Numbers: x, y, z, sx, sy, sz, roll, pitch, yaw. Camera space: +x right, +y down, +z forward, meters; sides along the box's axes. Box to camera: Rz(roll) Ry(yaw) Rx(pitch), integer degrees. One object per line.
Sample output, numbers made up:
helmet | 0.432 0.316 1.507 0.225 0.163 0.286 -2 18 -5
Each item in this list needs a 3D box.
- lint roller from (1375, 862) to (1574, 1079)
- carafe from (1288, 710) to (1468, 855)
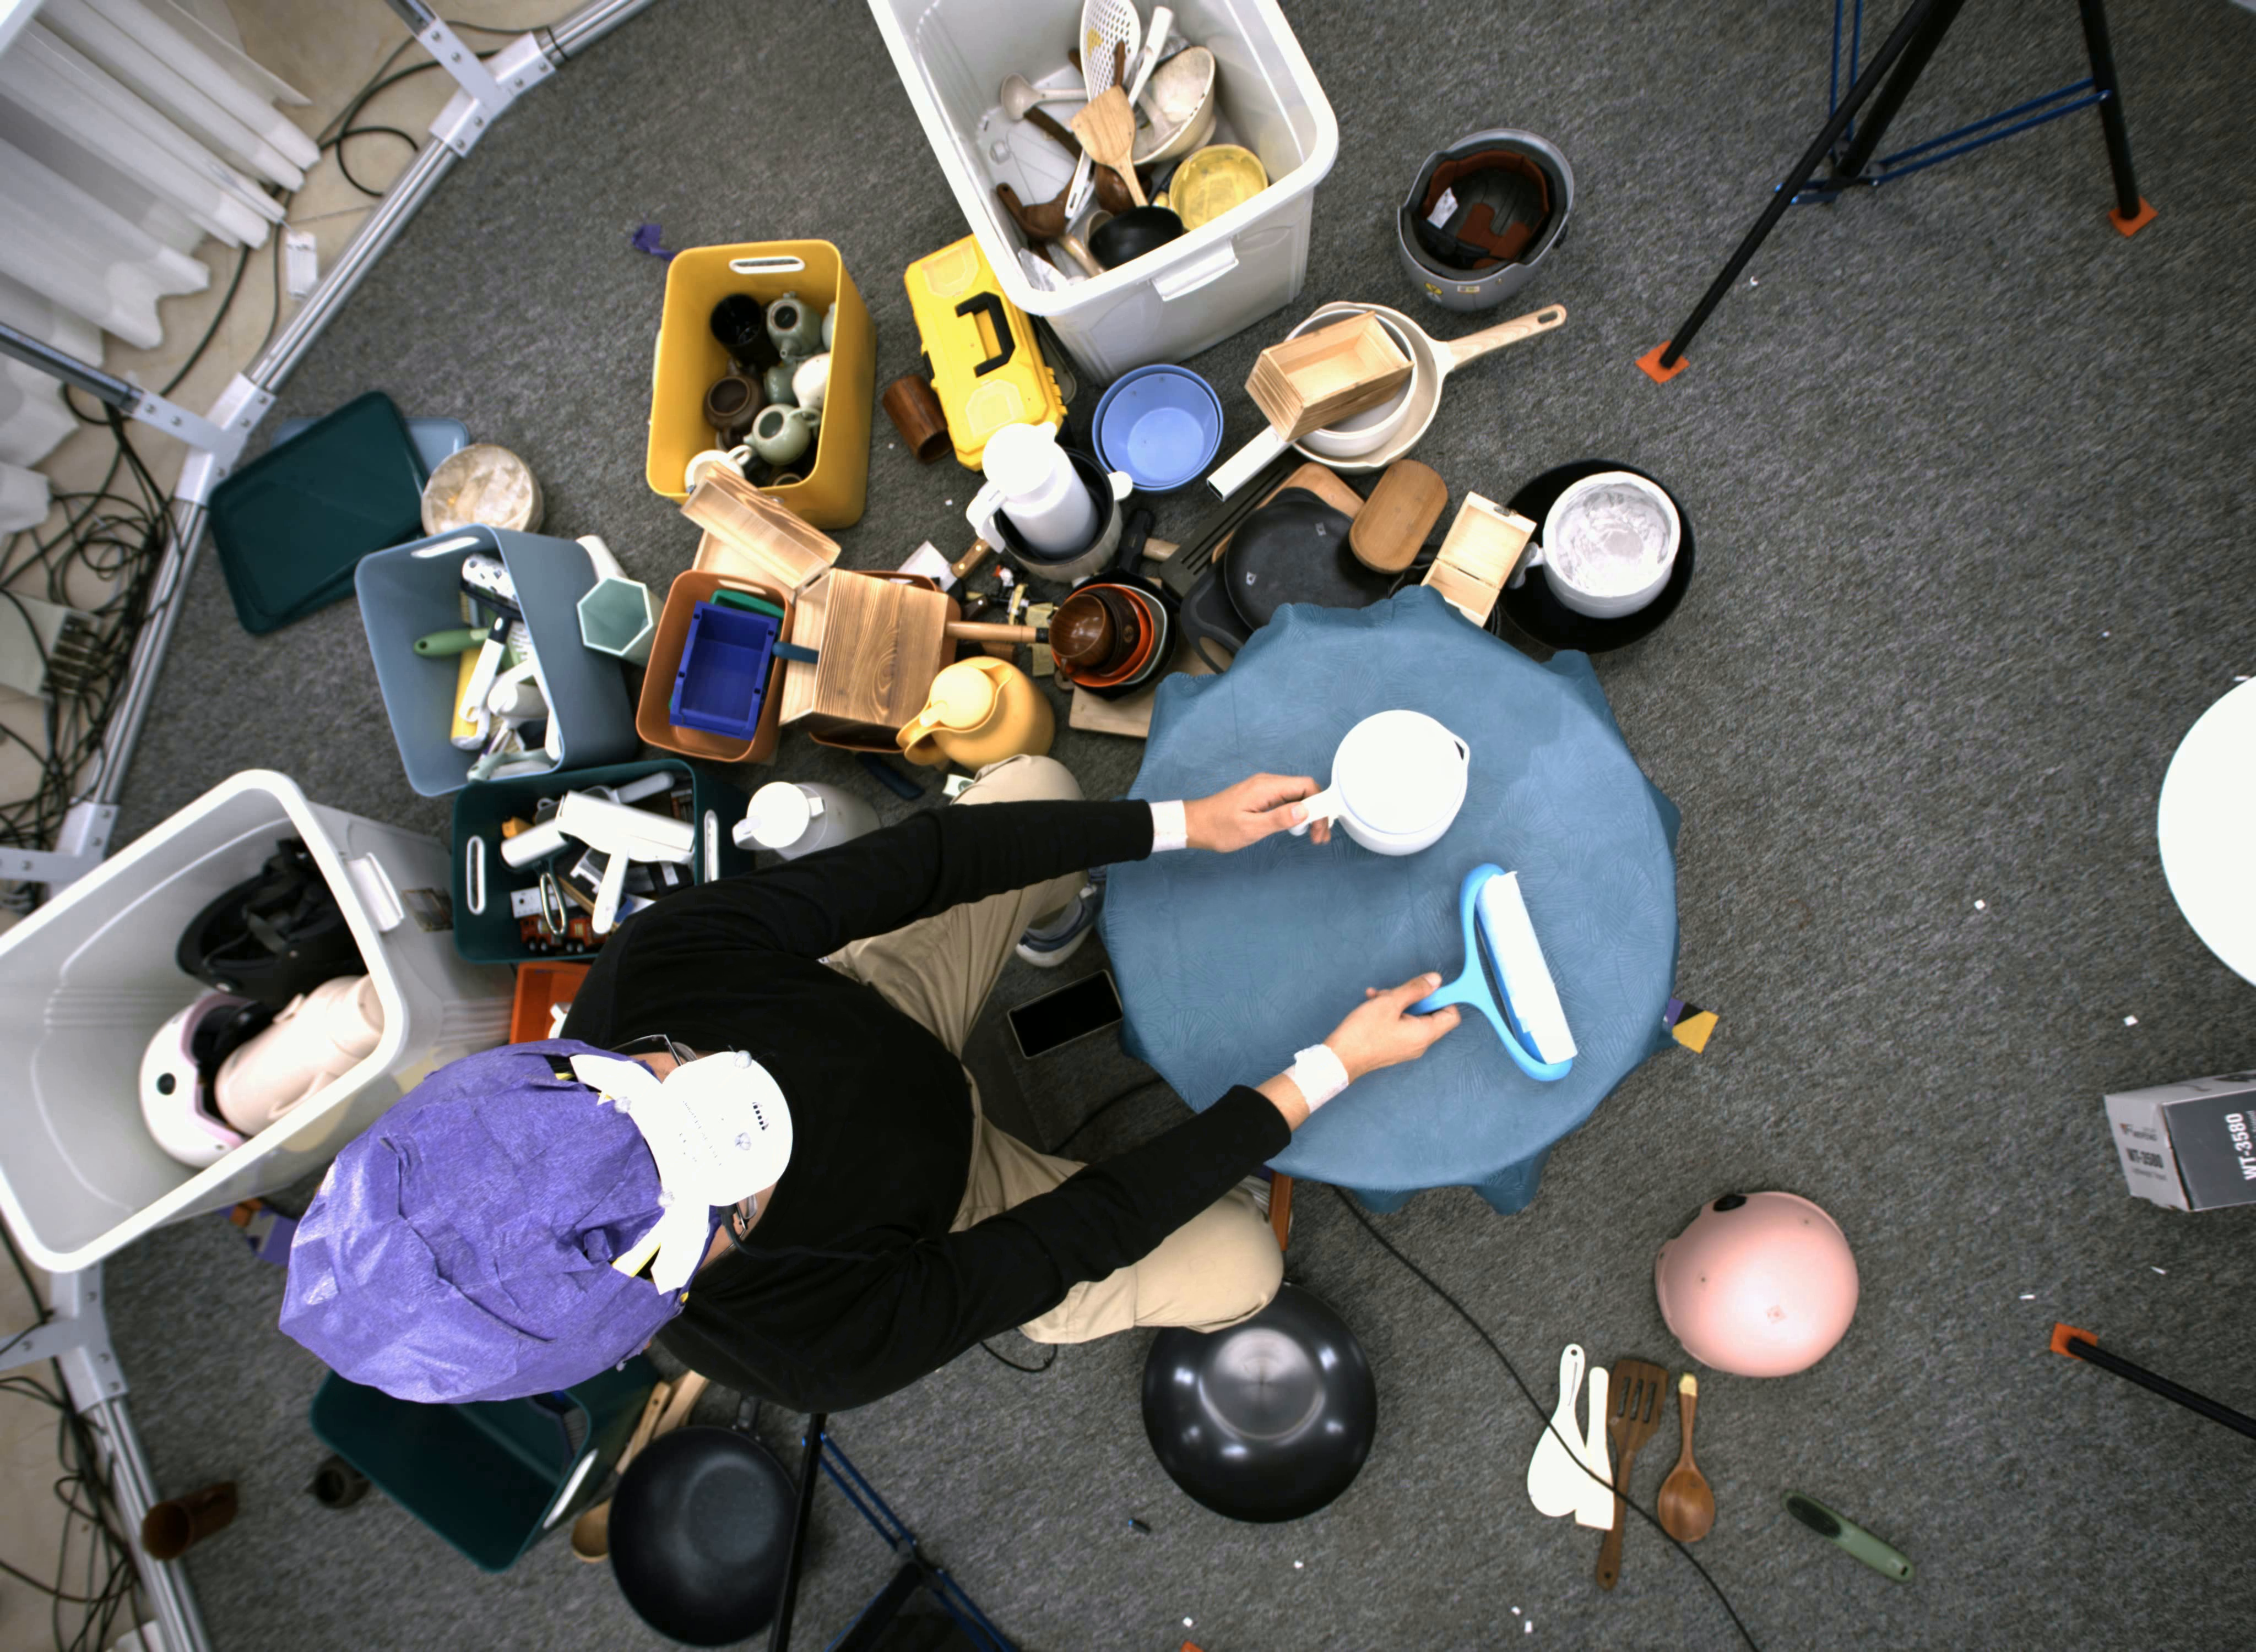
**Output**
lint roller | 0.343 0.163 1.401 0.180 0.068 0.228 -19 87 -6
carafe | 0.248 -0.034 1.383 0.192 0.182 0.131 -23 81 10
